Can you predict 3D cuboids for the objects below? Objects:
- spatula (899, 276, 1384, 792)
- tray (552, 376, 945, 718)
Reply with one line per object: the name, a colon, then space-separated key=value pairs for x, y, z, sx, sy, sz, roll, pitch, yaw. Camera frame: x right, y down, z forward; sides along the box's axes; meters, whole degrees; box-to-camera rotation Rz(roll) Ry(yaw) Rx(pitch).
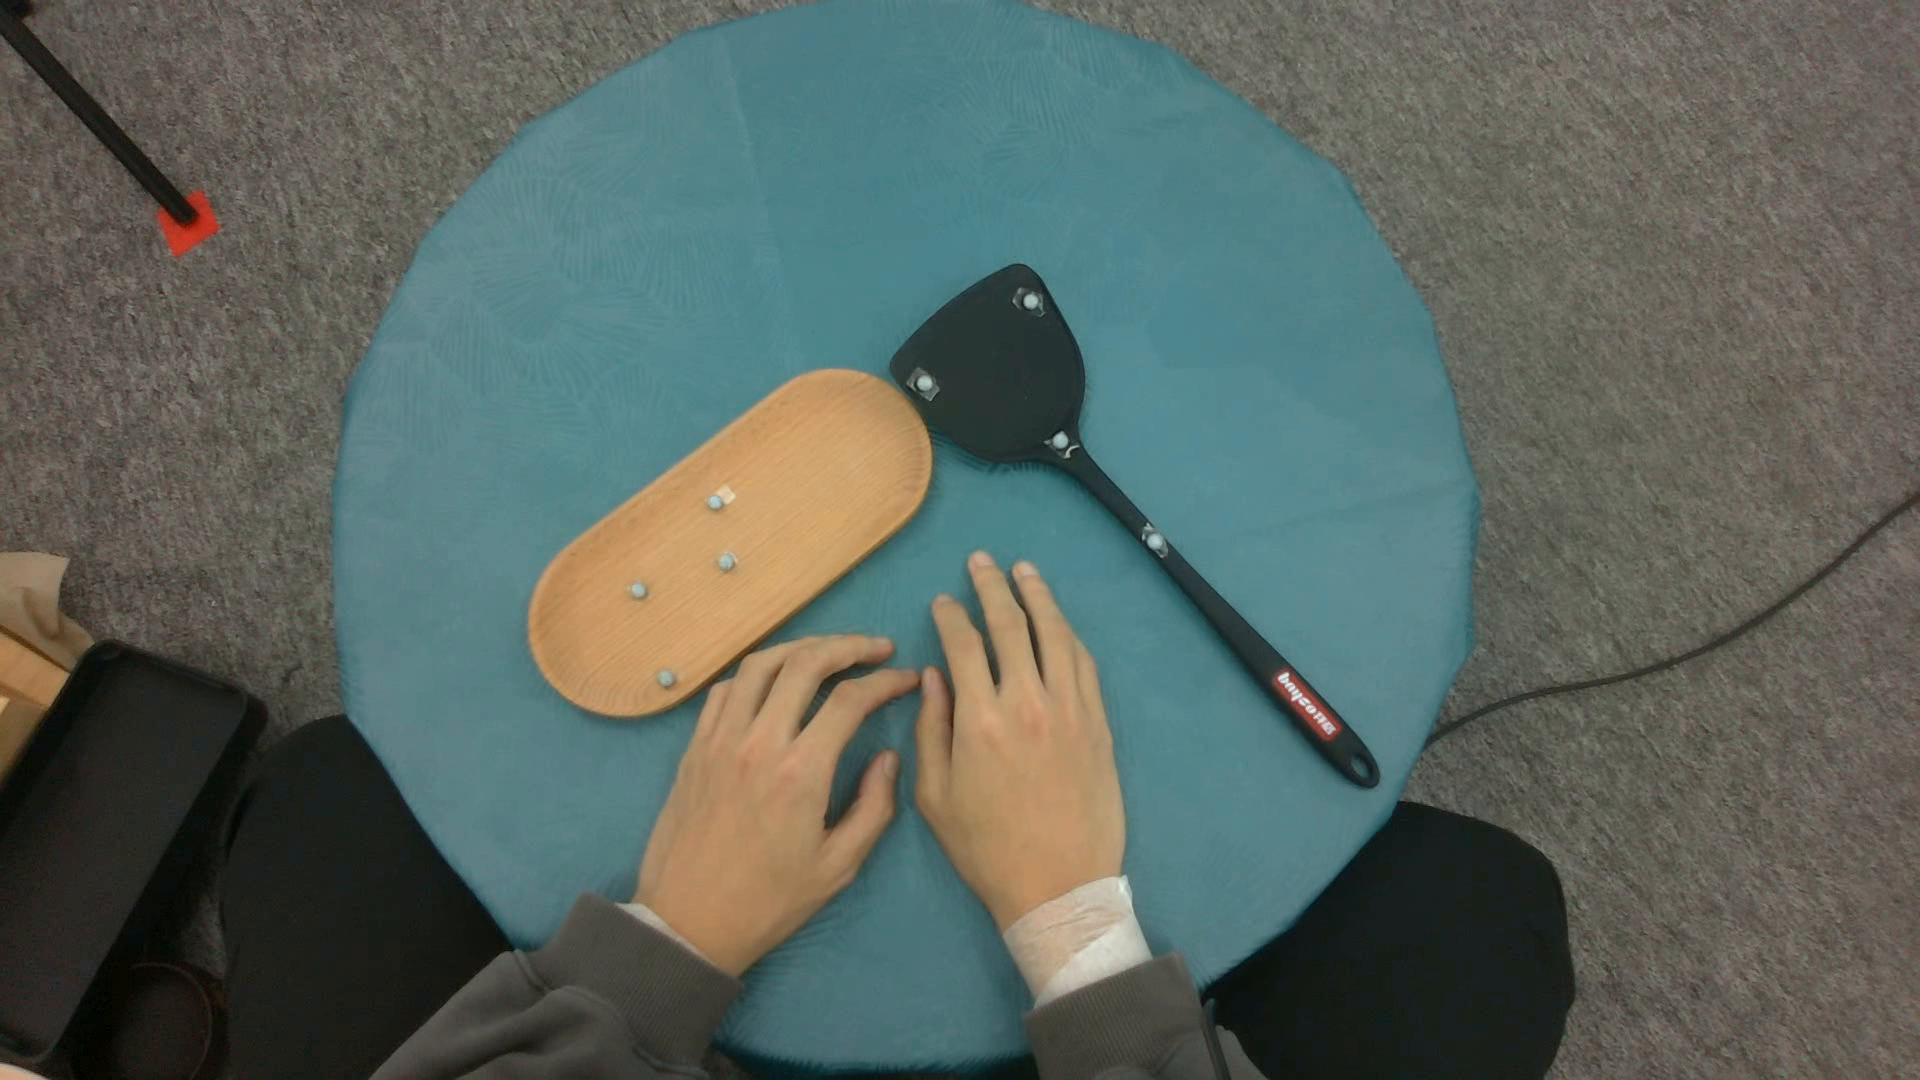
spatula: x=0.104 y=0.003 z=0.713 sx=0.100 sy=0.040 sz=0.326 roll=-40 pitch=76 yaw=-11
tray: x=-0.108 y=0.002 z=0.723 sx=0.231 sy=0.020 sz=0.102 roll=-39 pitch=77 yaw=-13
